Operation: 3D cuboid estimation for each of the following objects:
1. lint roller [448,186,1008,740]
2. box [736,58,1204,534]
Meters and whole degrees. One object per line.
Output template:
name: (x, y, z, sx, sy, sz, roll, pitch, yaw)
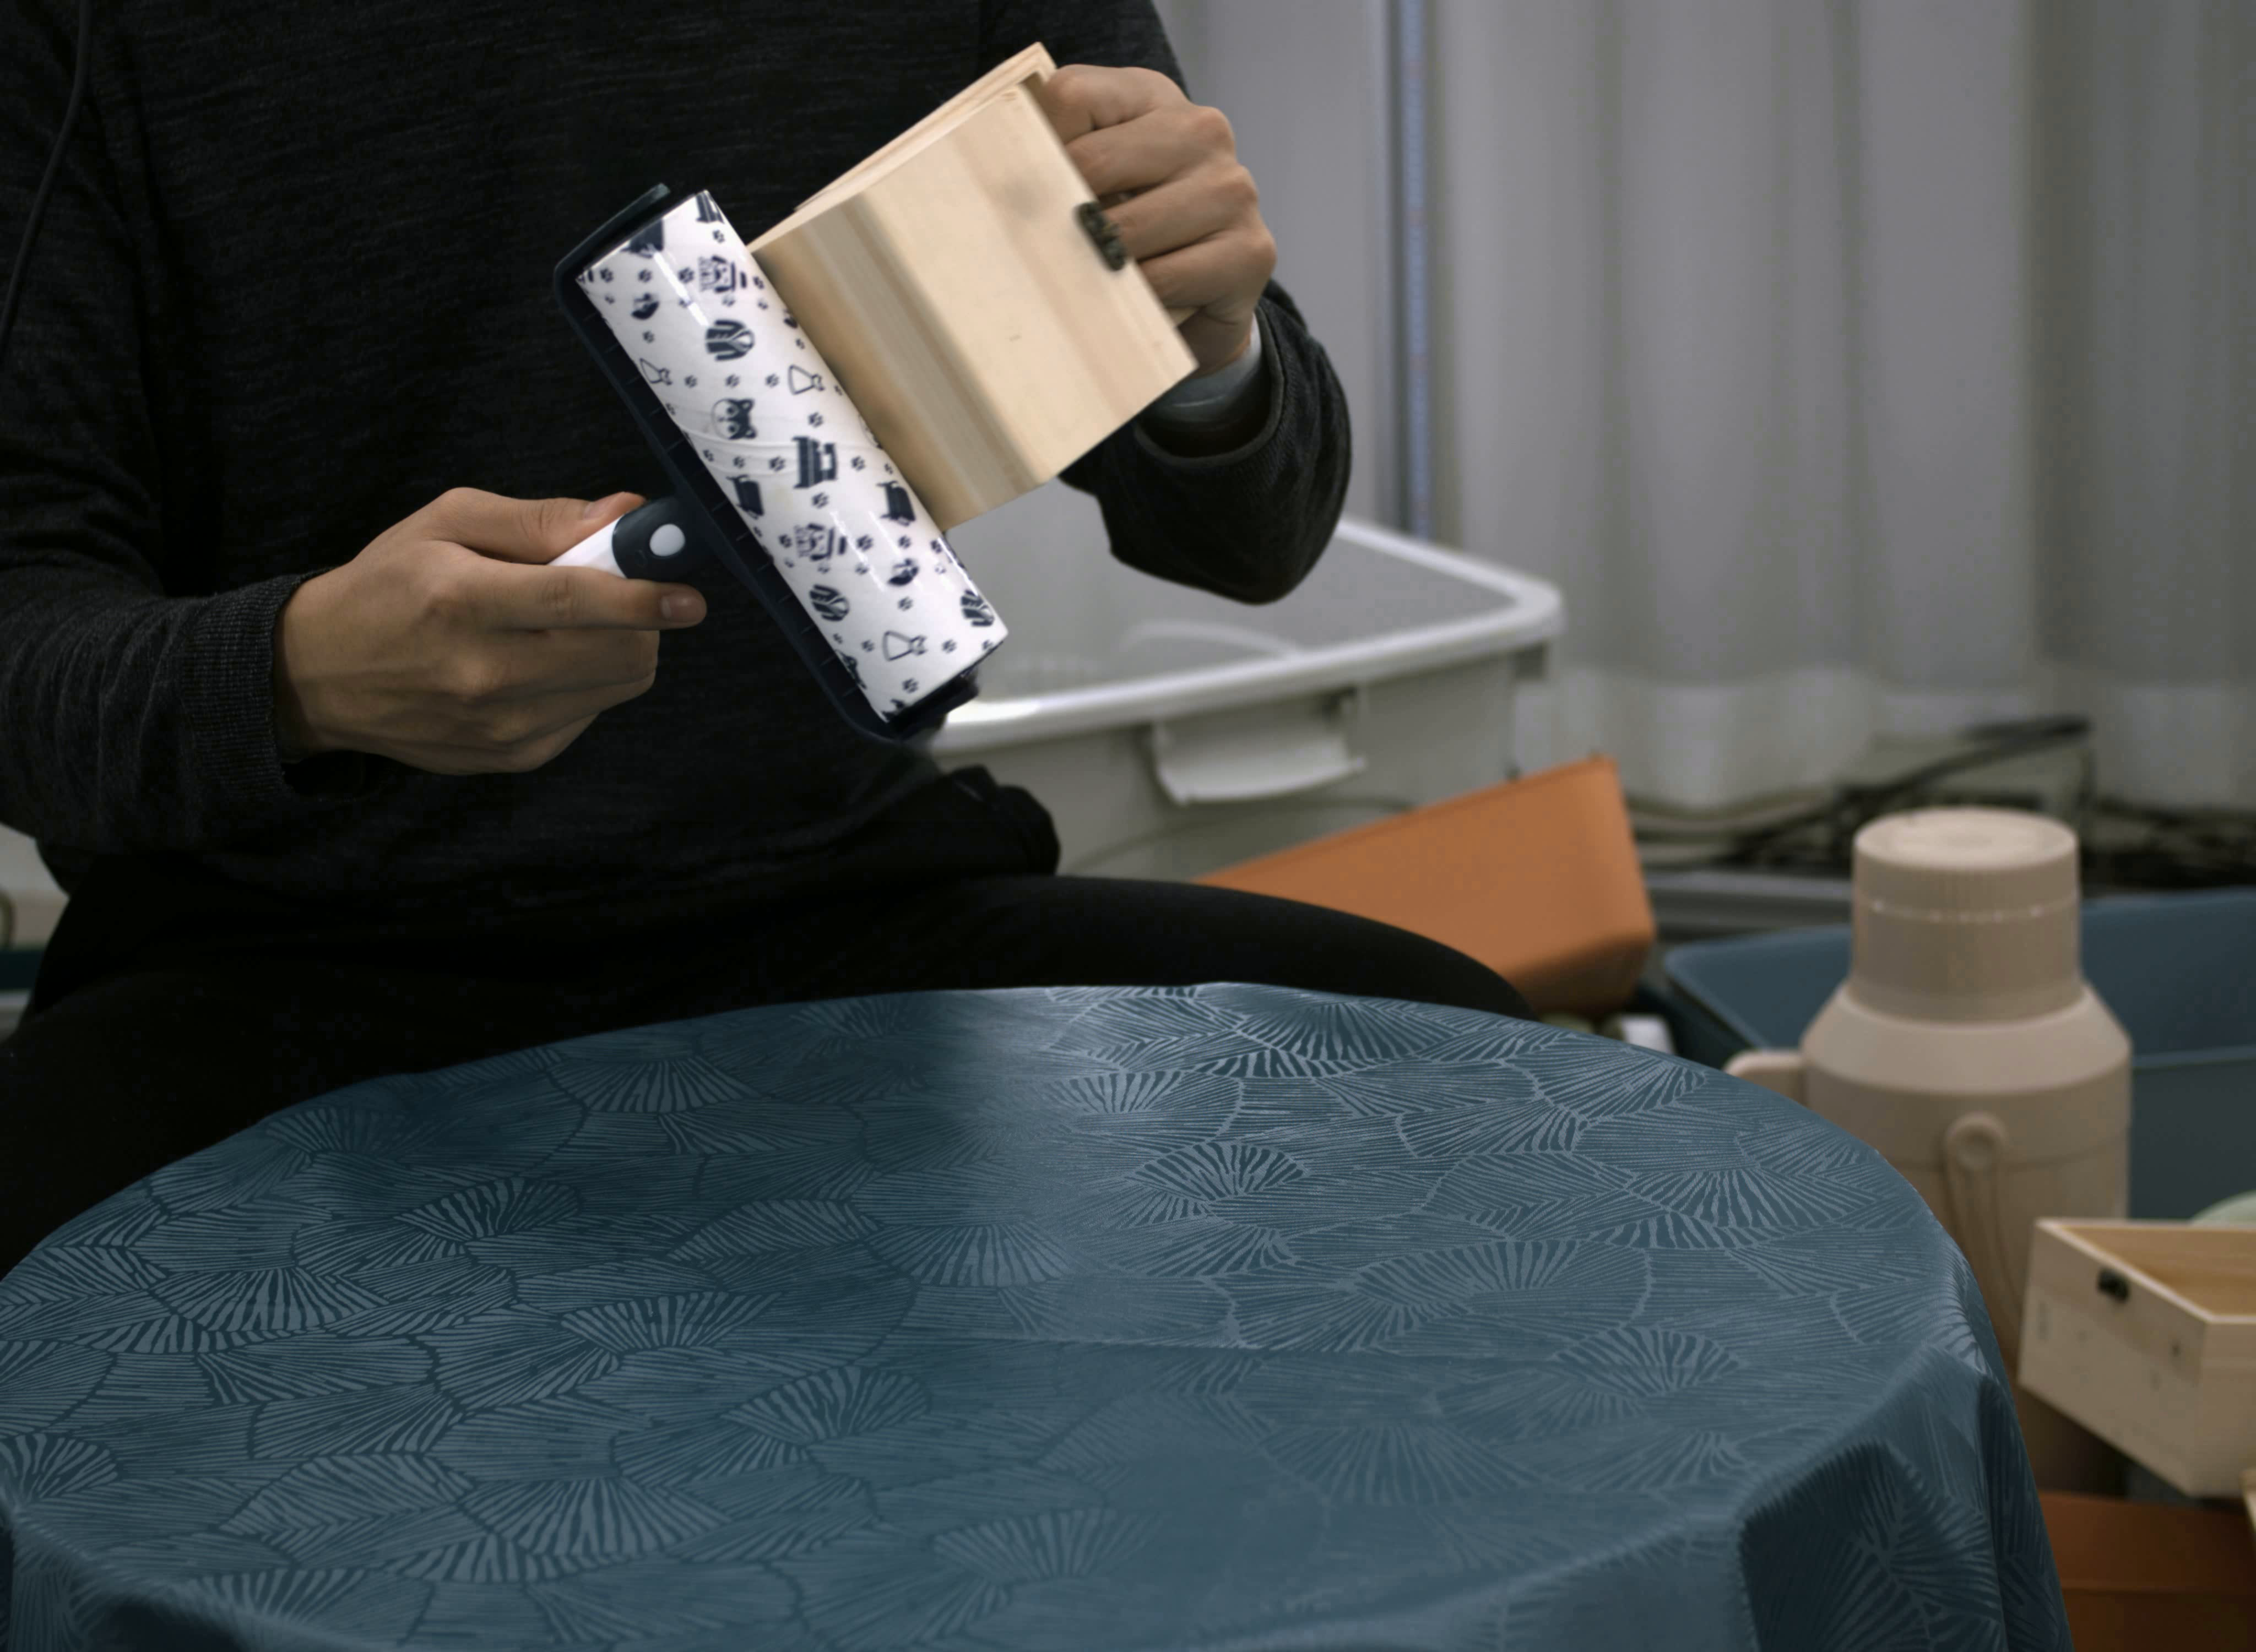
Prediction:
lint roller: (-0.153, -0.079, 1.702, 0.050, 0.176, 0.246, -38, 5, -39)
box: (-0.030, -0.174, 1.692, 0.133, 0.102, 0.185, -22, 13, 48)
